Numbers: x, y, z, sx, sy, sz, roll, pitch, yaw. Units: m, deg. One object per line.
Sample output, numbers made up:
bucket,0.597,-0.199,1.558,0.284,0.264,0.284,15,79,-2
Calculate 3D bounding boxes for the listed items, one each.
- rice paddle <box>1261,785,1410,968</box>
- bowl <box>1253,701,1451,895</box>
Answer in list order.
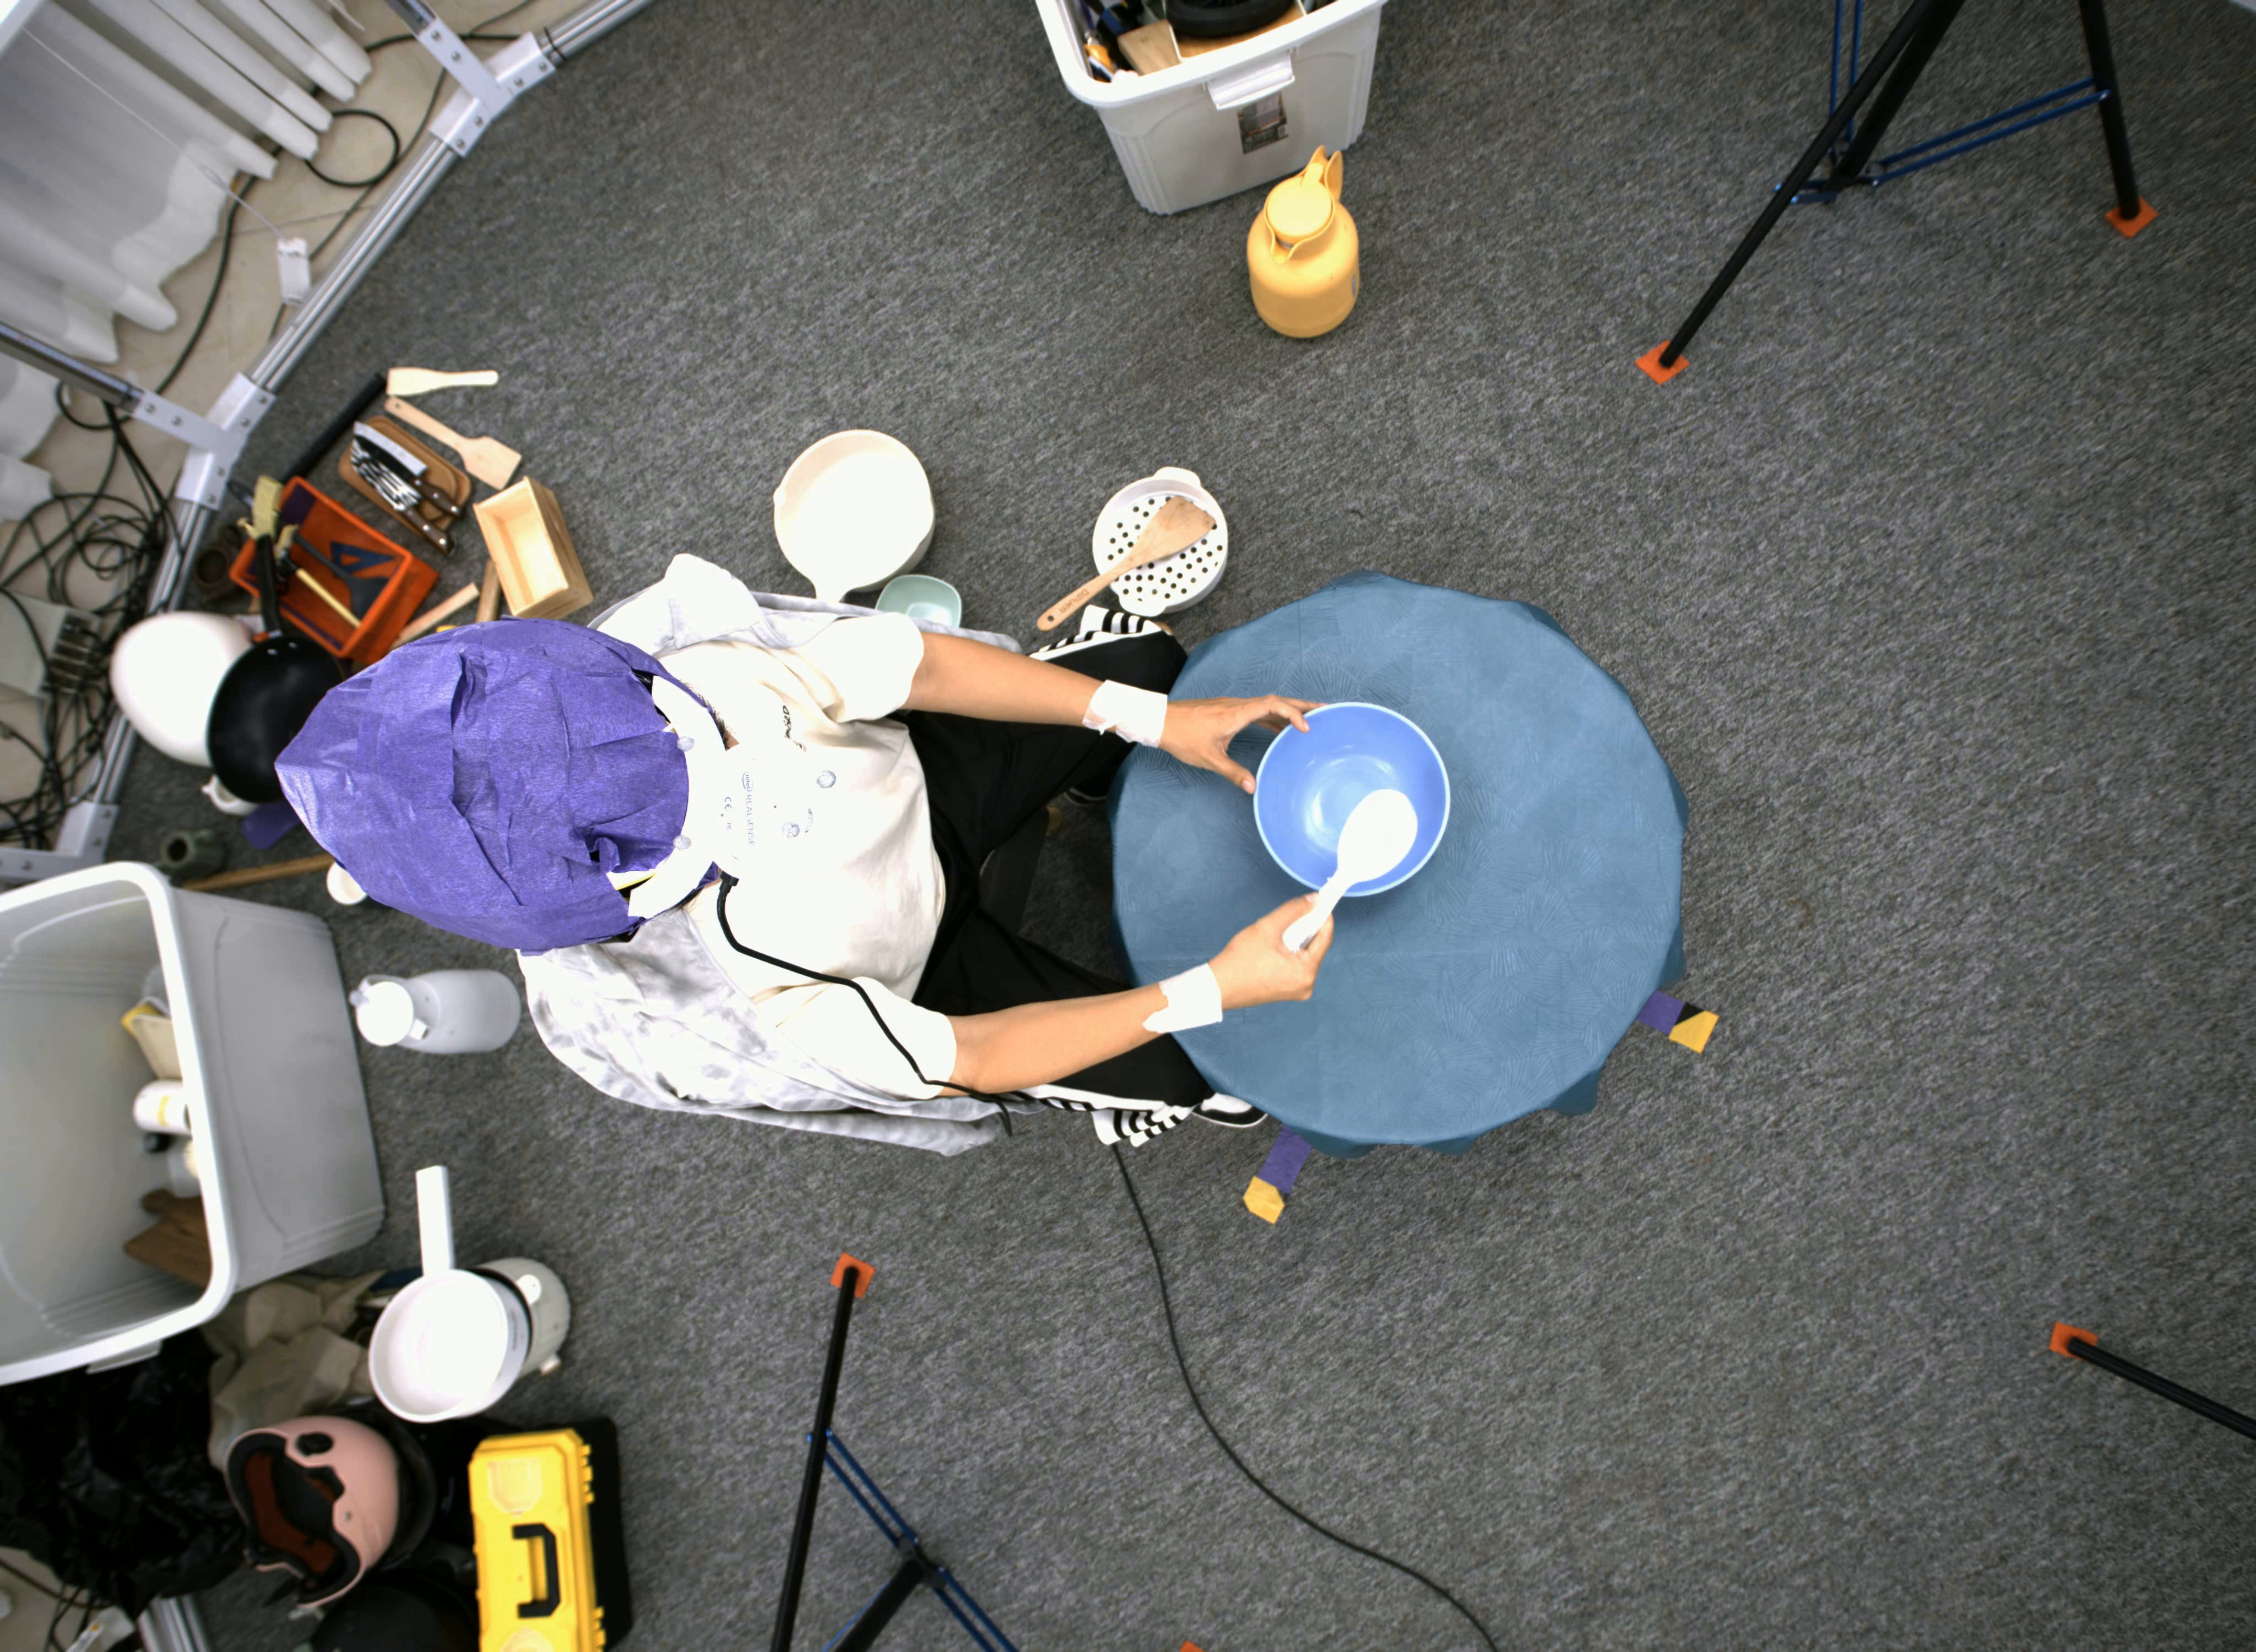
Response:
rice paddle,0.201,0.046,1.321,0.069,0.029,0.204,39,87,-17
bowl,0.229,-0.025,1.422,0.197,0.095,0.195,-1,87,9
